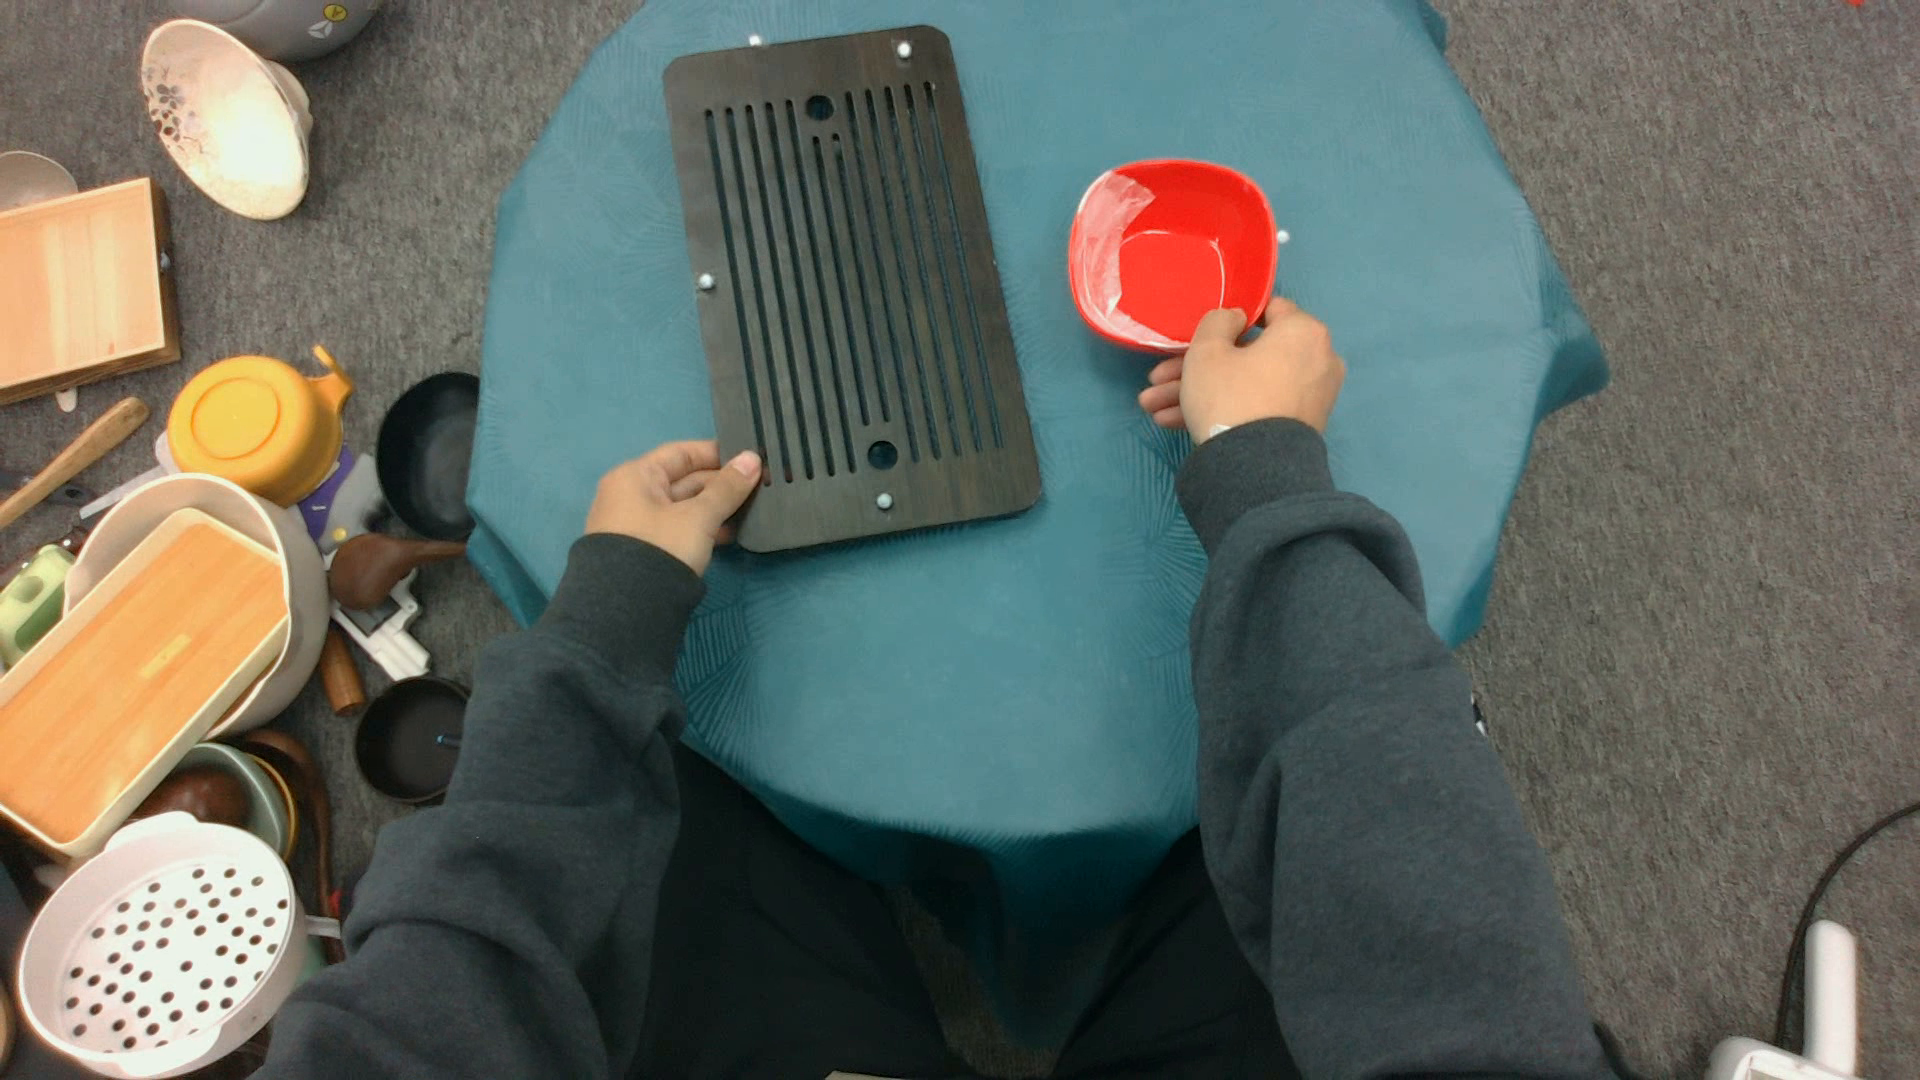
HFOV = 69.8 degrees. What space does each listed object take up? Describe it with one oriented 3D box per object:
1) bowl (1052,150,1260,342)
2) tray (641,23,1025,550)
[{"bbox_3d":[0.106,-0.153,0.756,0.119,0.051,0.119,-1,72,4],"label":"bowl"},{"bbox_3d":[-0.075,-0.150,0.774,0.170,0.018,0.306,-9,75,-7],"label":"tray"}]
